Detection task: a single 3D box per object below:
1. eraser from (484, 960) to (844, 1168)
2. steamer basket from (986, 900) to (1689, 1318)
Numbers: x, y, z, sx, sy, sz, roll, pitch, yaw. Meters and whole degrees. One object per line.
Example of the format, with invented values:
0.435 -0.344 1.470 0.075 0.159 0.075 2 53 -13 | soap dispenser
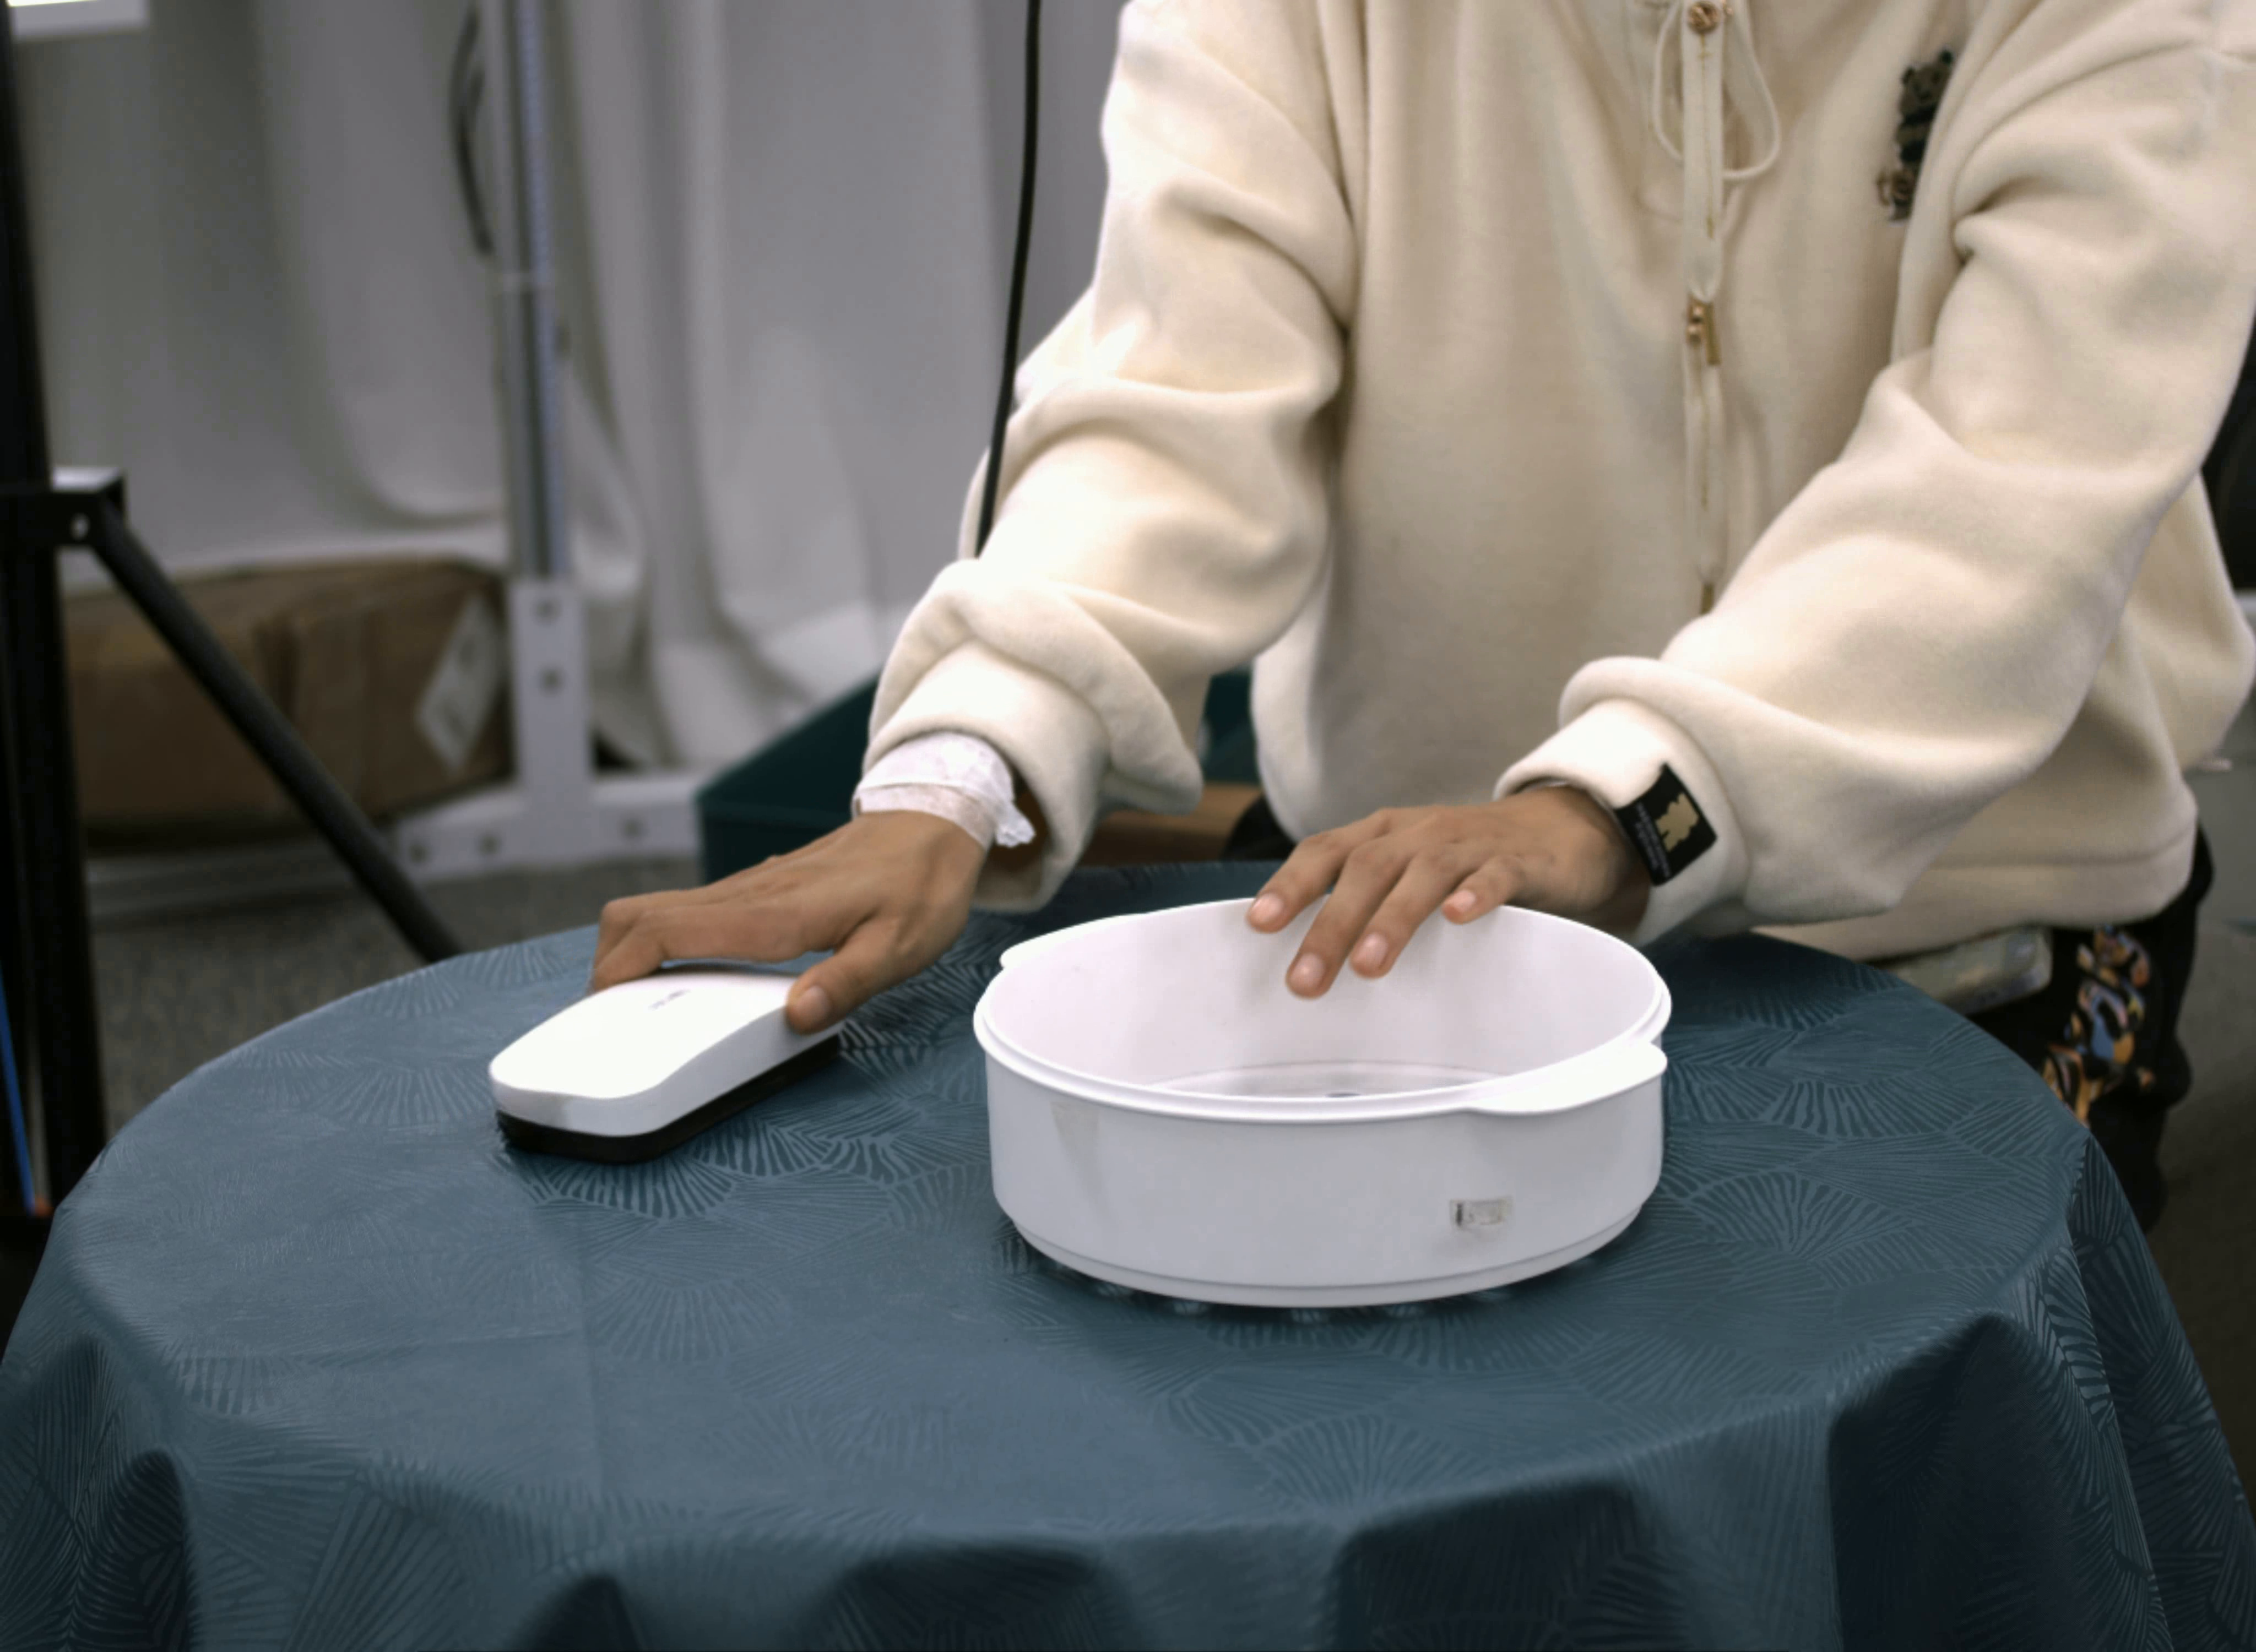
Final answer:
-0.141 0.070 1.658 0.064 0.034 0.129 6 19 31 | eraser
0.060 0.081 1.522 0.197 0.069 0.236 -15 21 -39 | steamer basket
